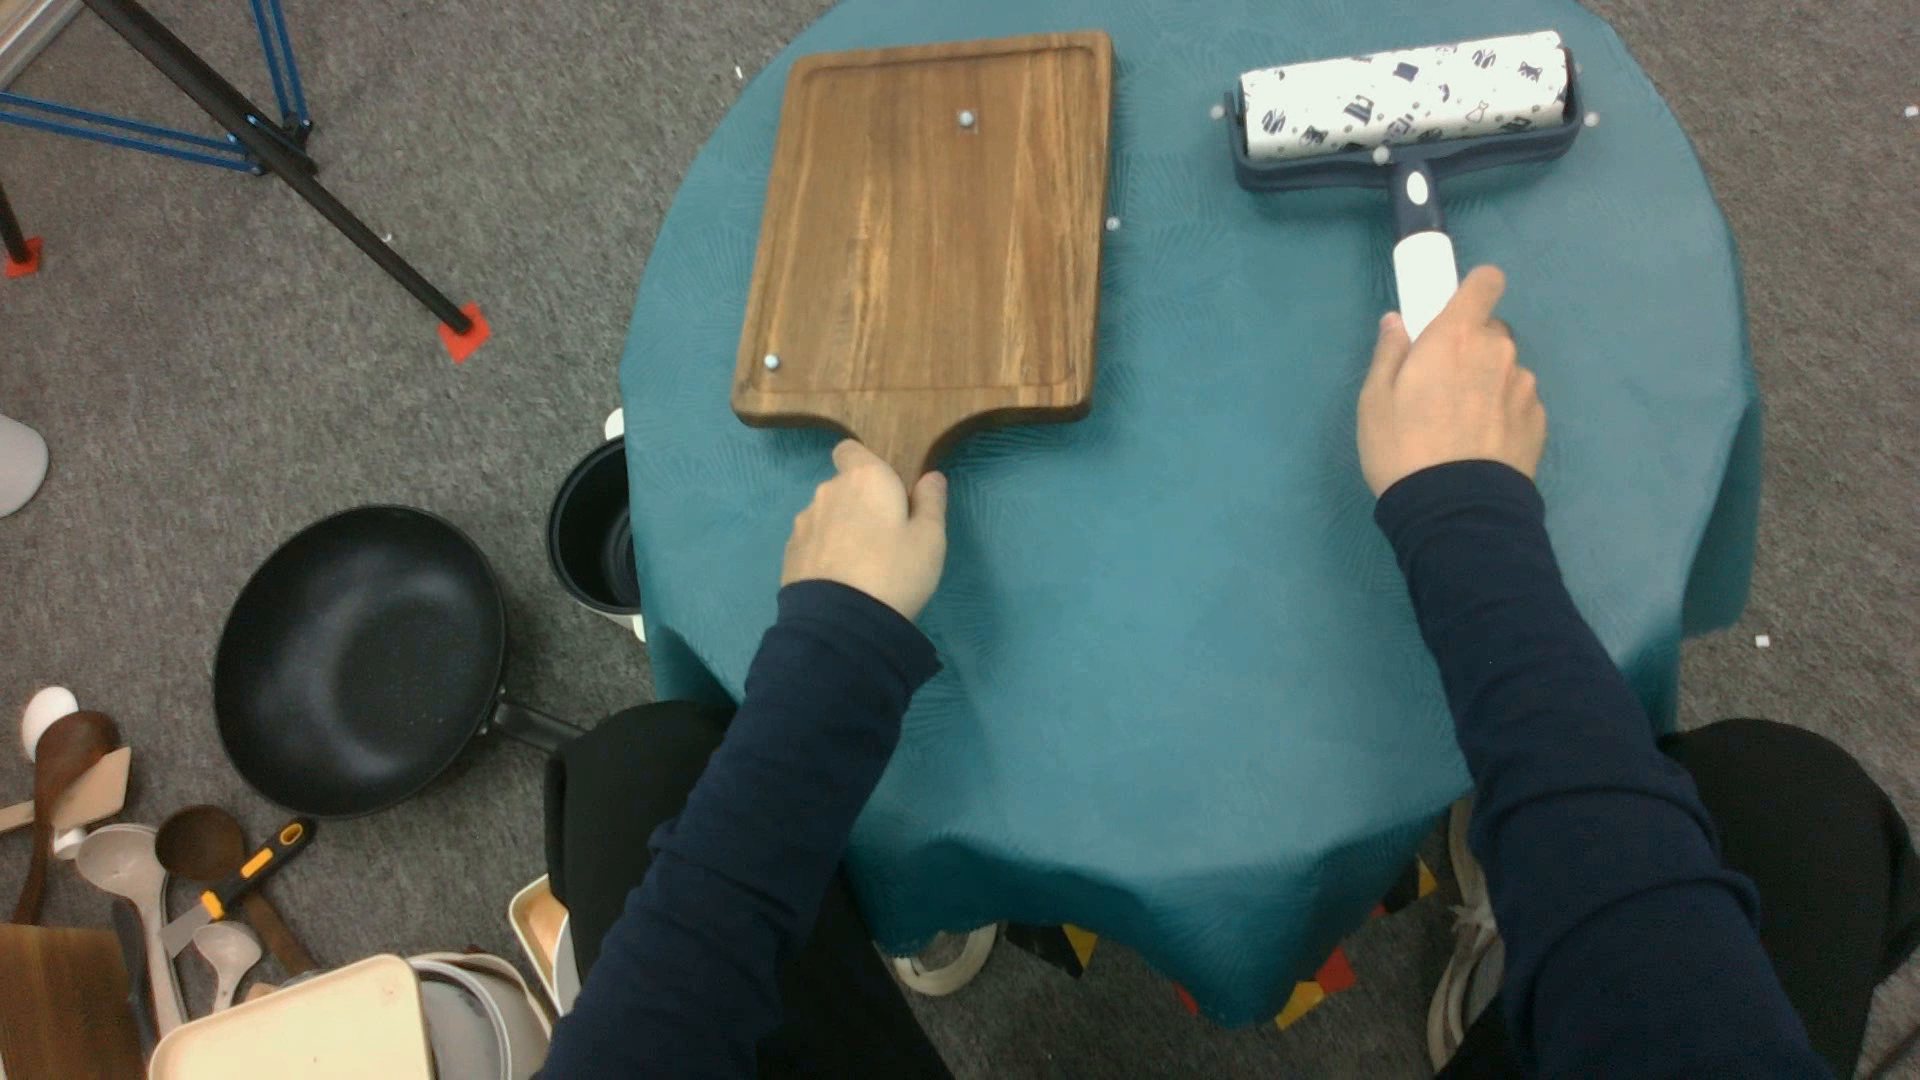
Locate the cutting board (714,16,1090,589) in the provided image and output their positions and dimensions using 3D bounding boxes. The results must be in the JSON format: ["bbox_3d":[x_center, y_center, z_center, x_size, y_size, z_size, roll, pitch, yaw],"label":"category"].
[{"bbox_3d":[-0.031,-0.139,0.750,0.201,0.023,0.353,-1,65,12],"label":"cutting board"}]

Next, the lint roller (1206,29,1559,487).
[{"bbox_3d":[0.225,-0.146,0.692,0.176,0.050,0.248,-5,68,5],"label":"lint roller"}]
